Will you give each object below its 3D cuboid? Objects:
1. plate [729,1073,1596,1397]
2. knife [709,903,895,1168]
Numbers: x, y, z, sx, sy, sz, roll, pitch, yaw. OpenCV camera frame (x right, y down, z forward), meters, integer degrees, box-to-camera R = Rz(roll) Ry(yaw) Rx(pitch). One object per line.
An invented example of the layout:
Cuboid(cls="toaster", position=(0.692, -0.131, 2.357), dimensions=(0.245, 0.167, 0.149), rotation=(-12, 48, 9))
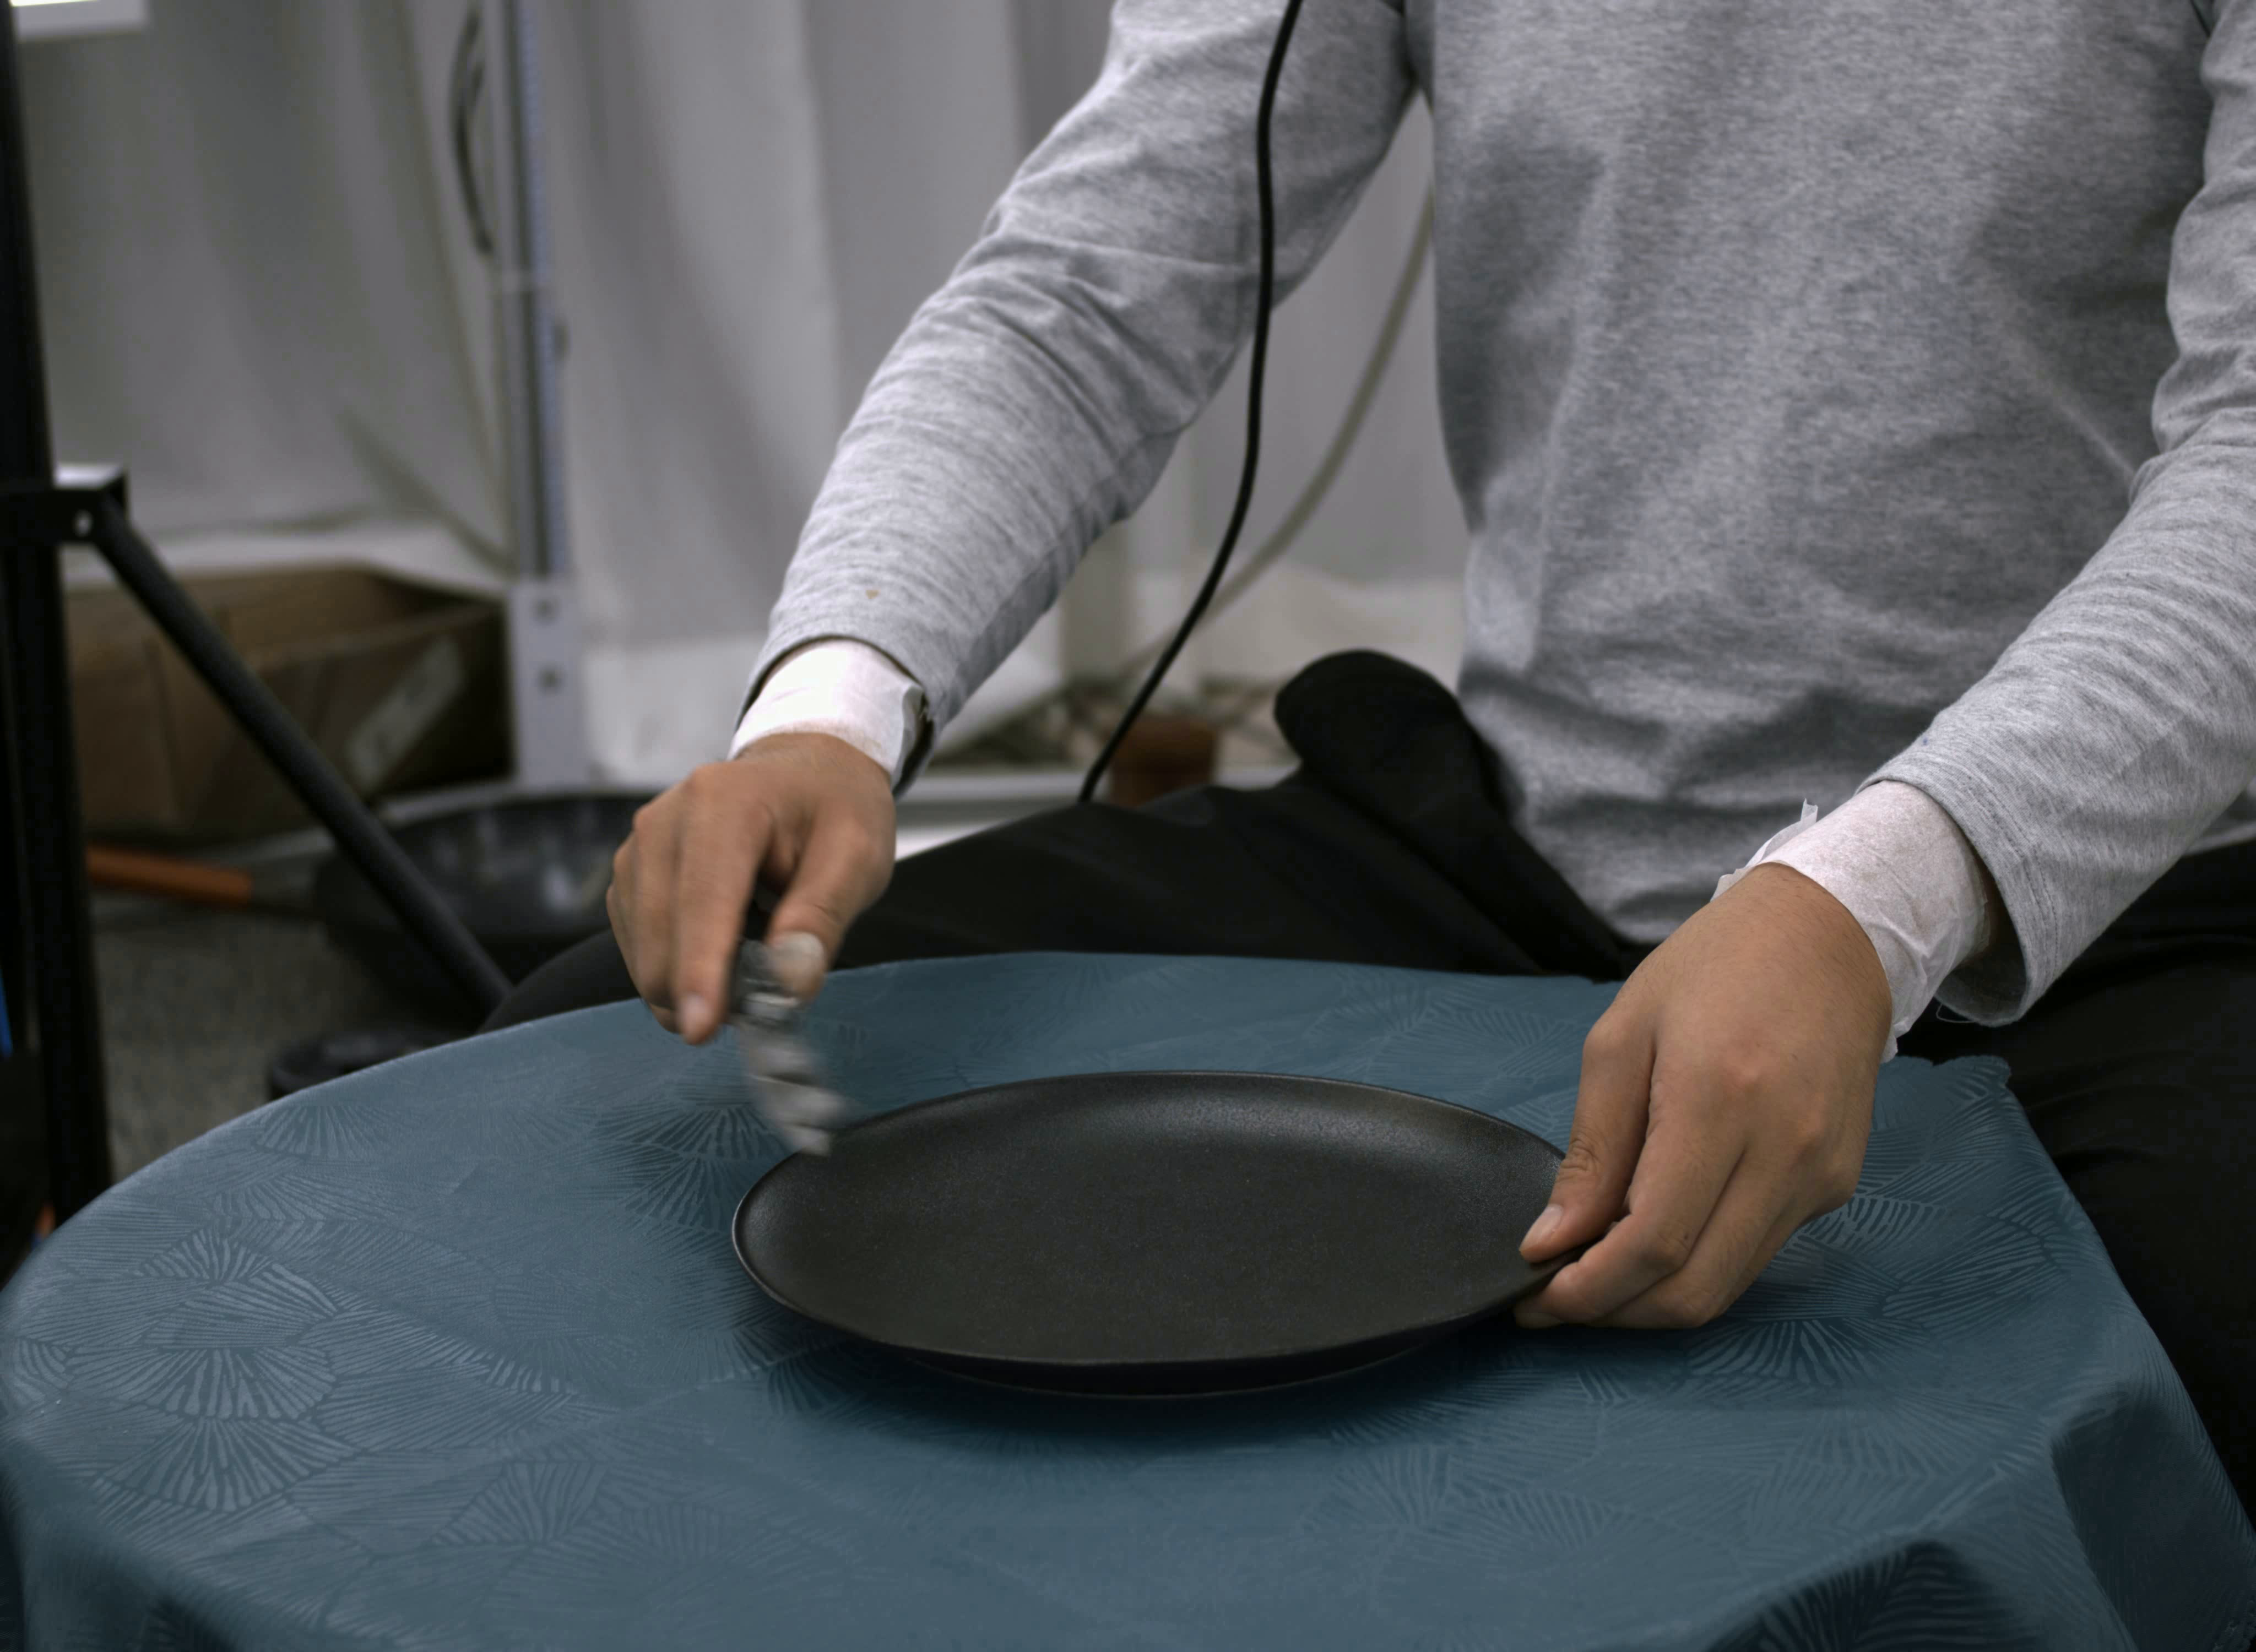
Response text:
Cuboid(cls="plate", position=(0.010, 0.117, 1.488), dimensions=(0.243, 0.023, 0.245), rotation=(-3, 16, -1))
Cuboid(cls="knife", position=(-0.095, 0.060, 1.528), dimensions=(0.024, 0.016, 0.241), rotation=(3, 14, -15))
